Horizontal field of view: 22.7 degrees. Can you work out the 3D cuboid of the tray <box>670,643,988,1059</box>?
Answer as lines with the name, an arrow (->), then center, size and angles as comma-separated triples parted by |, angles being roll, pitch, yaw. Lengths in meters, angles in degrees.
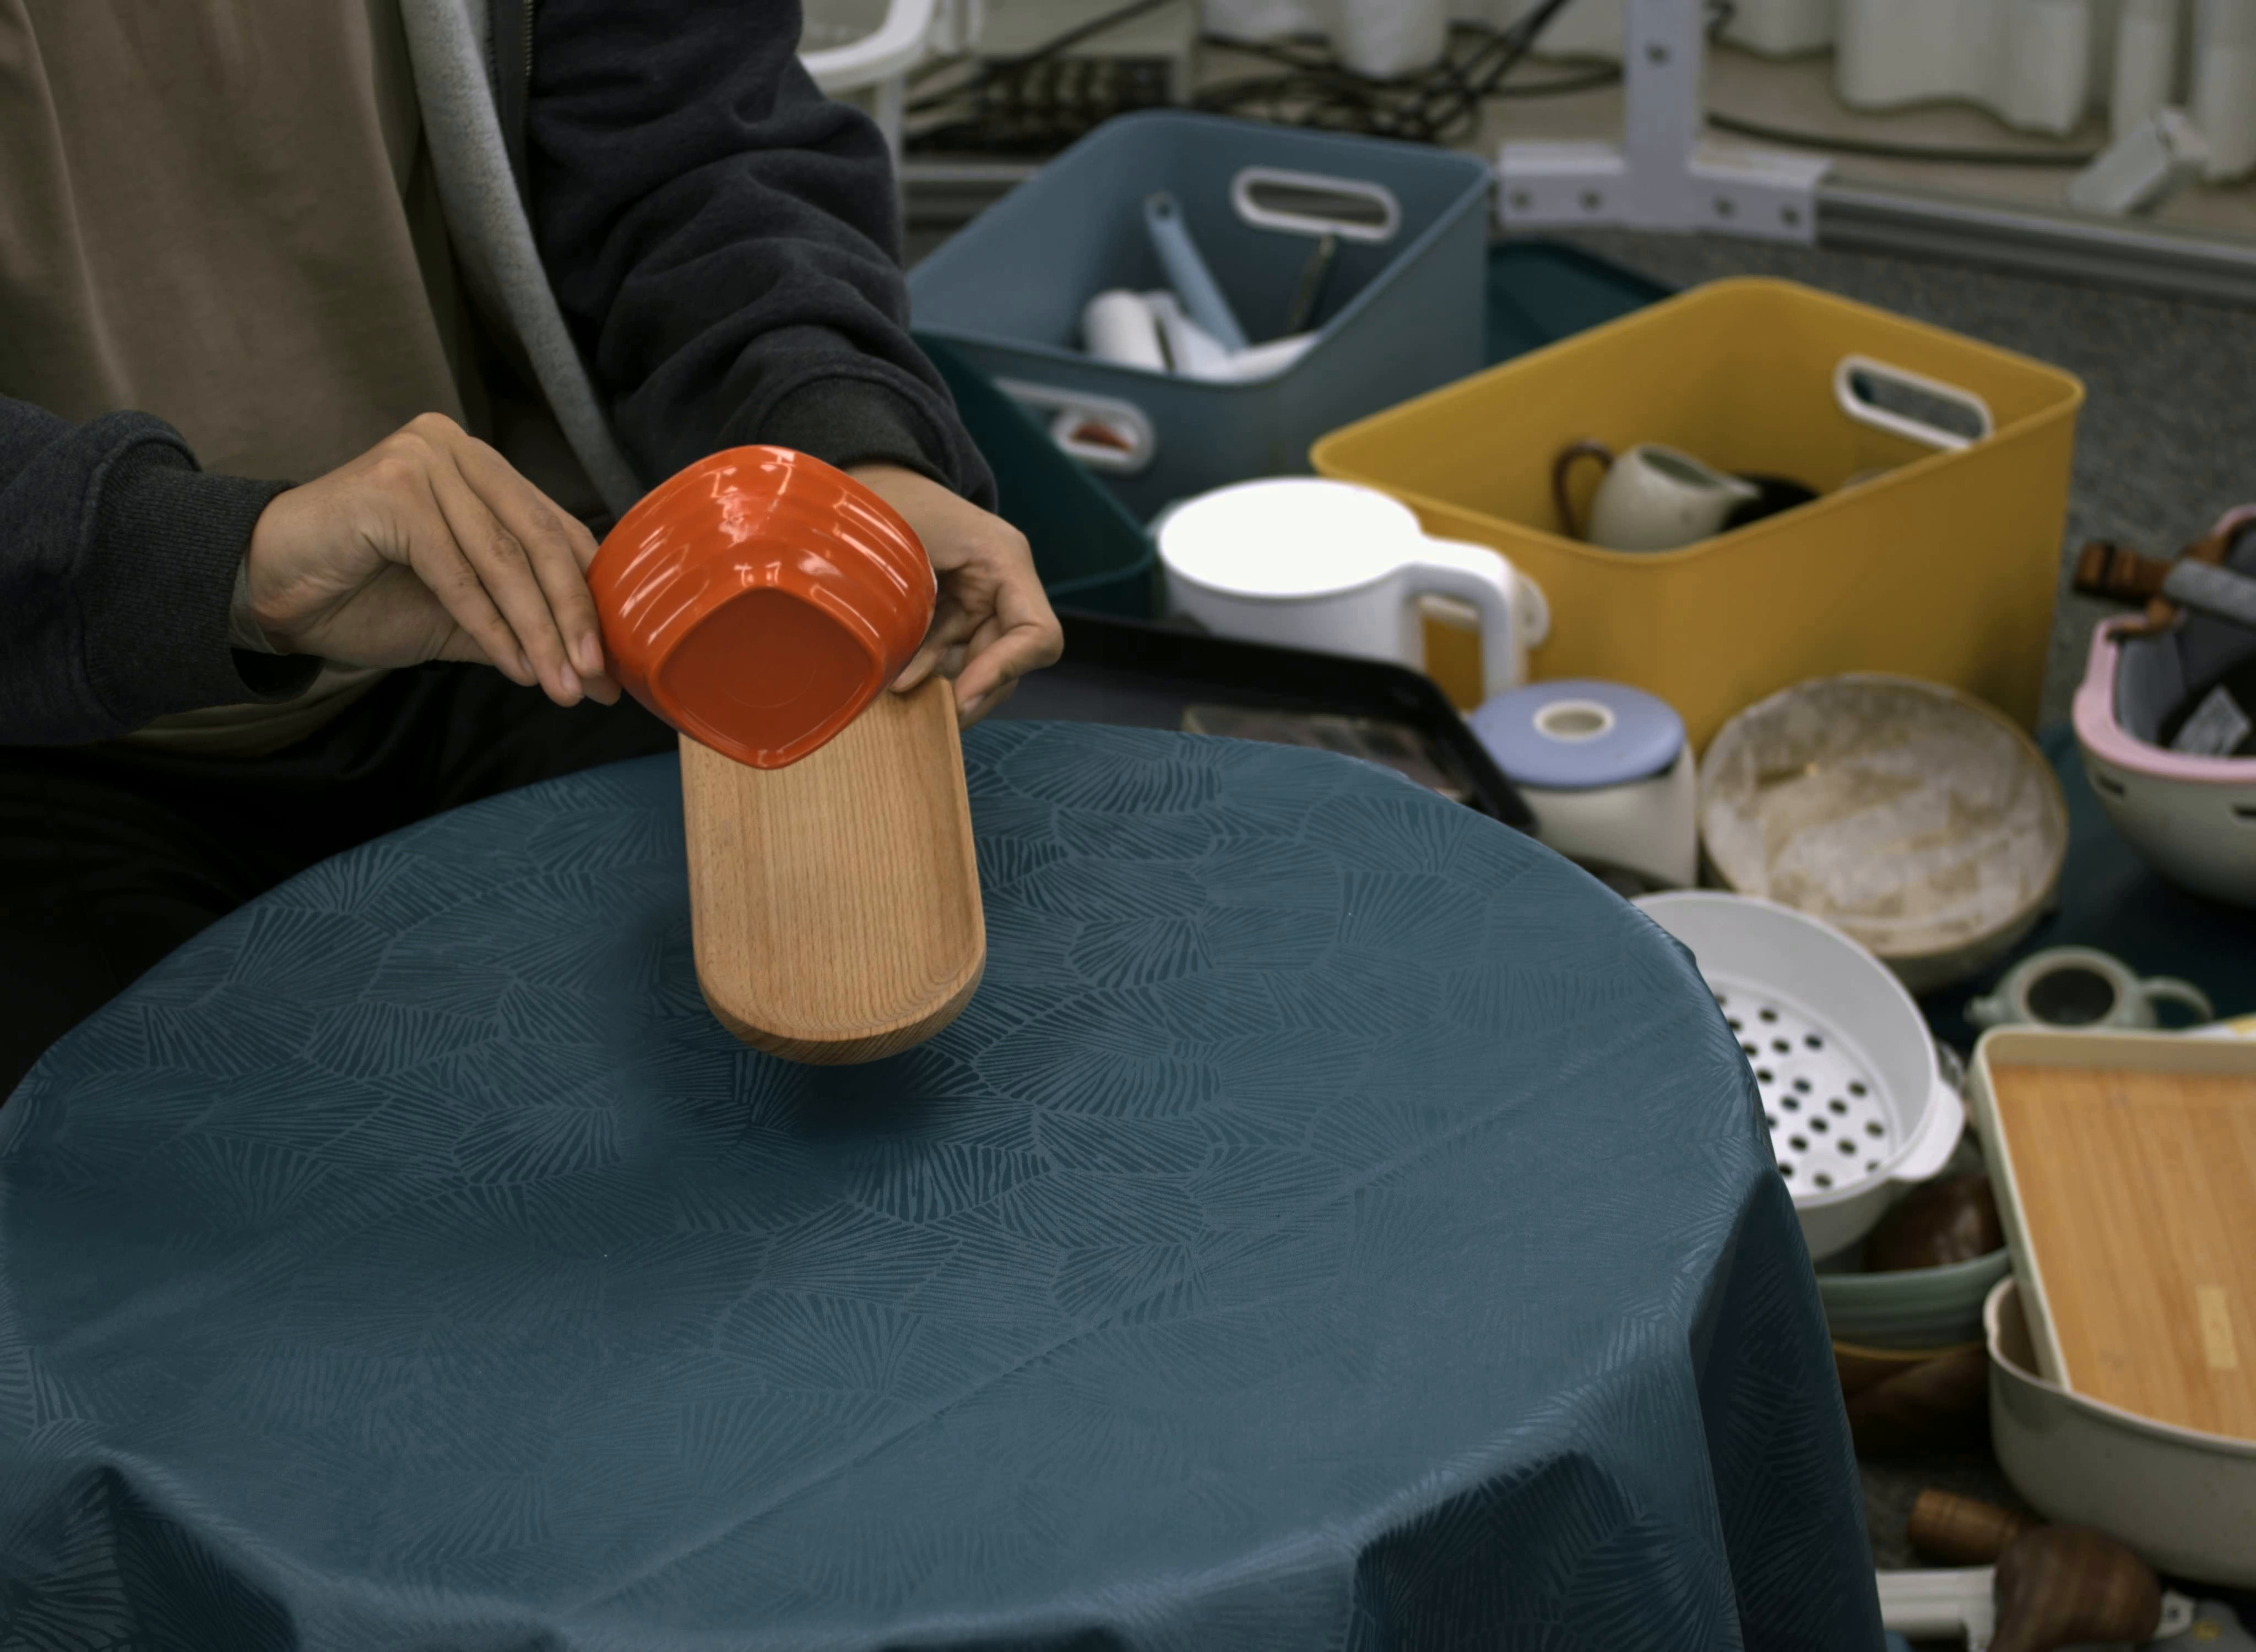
tray -> -0.106, 0.002, 1.971 | 0.101, 0.020, 0.235 | -5, 38, -5

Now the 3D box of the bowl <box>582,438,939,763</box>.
bowl -> -0.119, -0.065, 1.852 | 0.118, 0.117, 0.052 | -5, 38, -5
